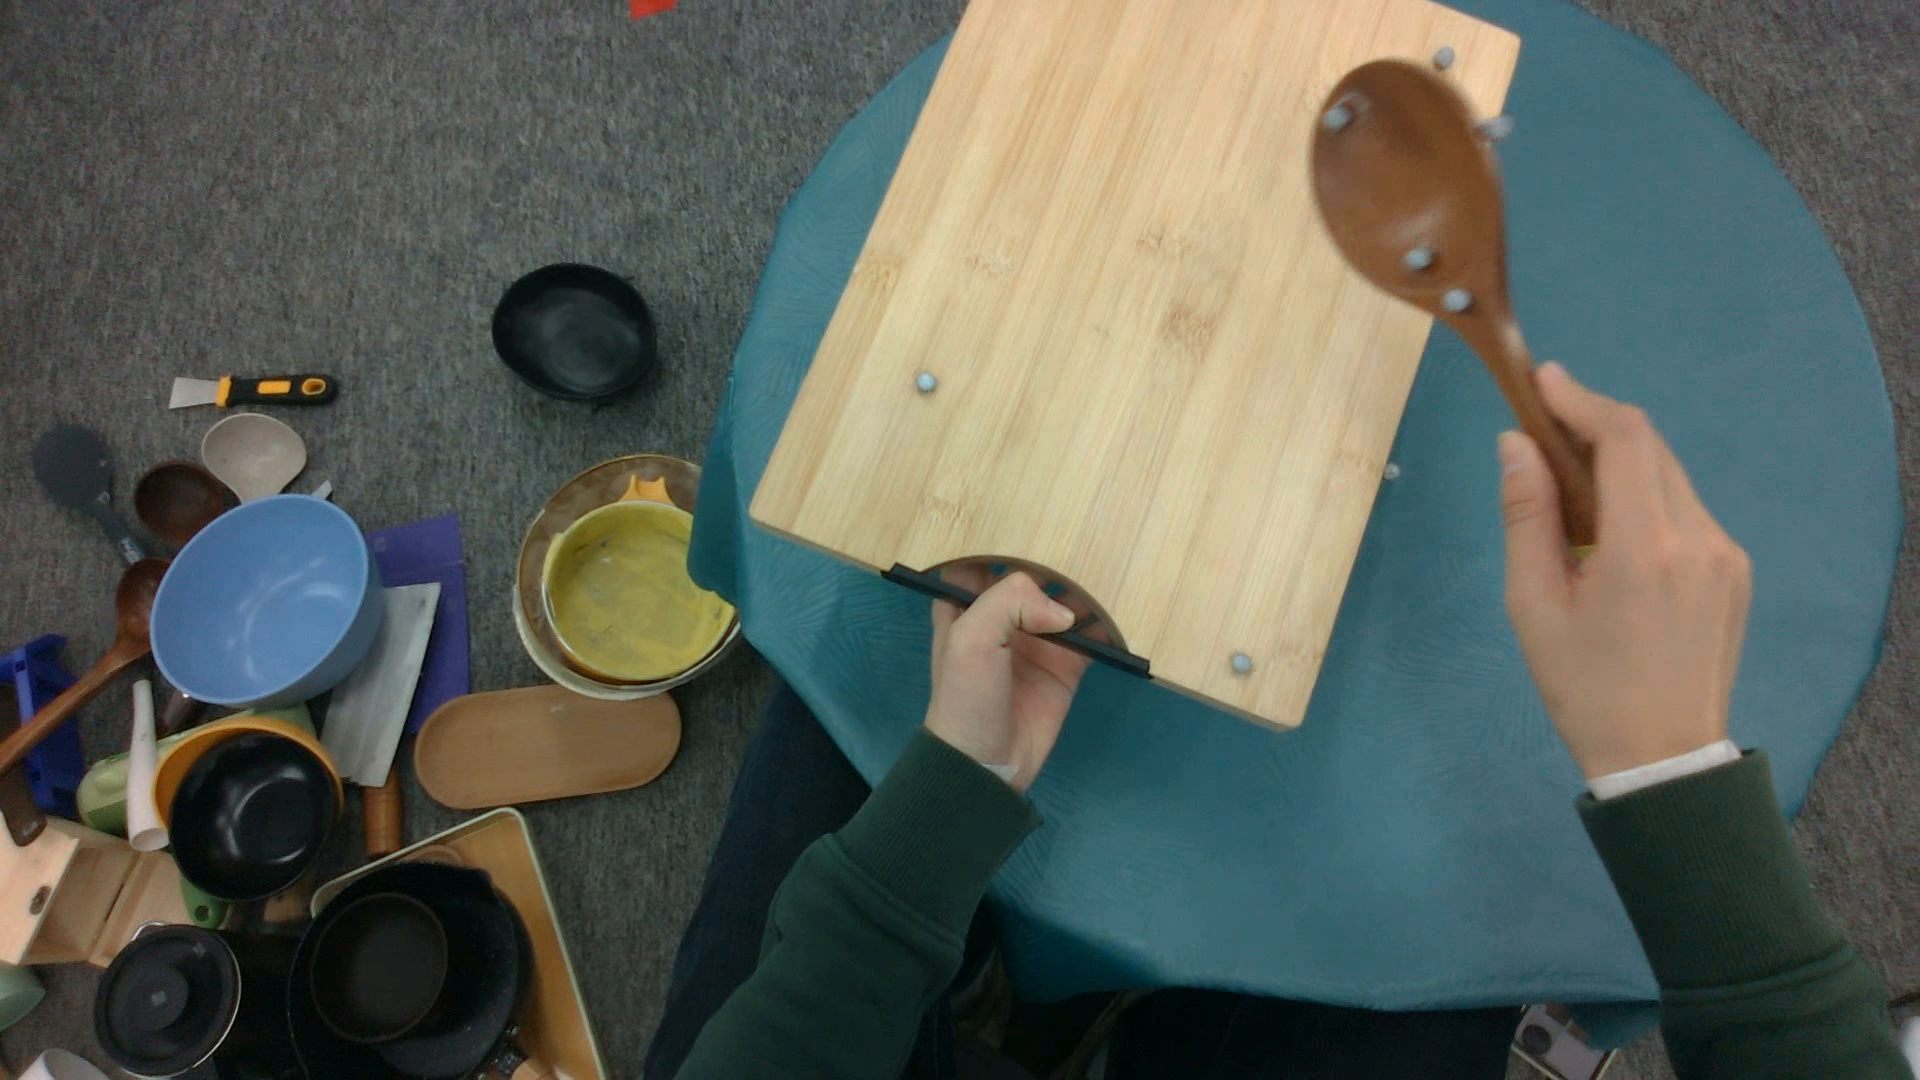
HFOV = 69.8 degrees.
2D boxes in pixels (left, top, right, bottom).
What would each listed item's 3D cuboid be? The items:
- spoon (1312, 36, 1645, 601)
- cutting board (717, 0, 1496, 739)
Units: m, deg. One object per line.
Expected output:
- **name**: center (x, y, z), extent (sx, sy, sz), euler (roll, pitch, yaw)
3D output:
- **spoon**: center (0.186, -0.080, 0.487), extent (0.017, 0.075, 0.216), euler (-8, 72, -41)
- **cutting board**: center (0.075, -0.117, 0.604), extent (0.251, 0.023, 0.349), euler (20, 75, 1)
